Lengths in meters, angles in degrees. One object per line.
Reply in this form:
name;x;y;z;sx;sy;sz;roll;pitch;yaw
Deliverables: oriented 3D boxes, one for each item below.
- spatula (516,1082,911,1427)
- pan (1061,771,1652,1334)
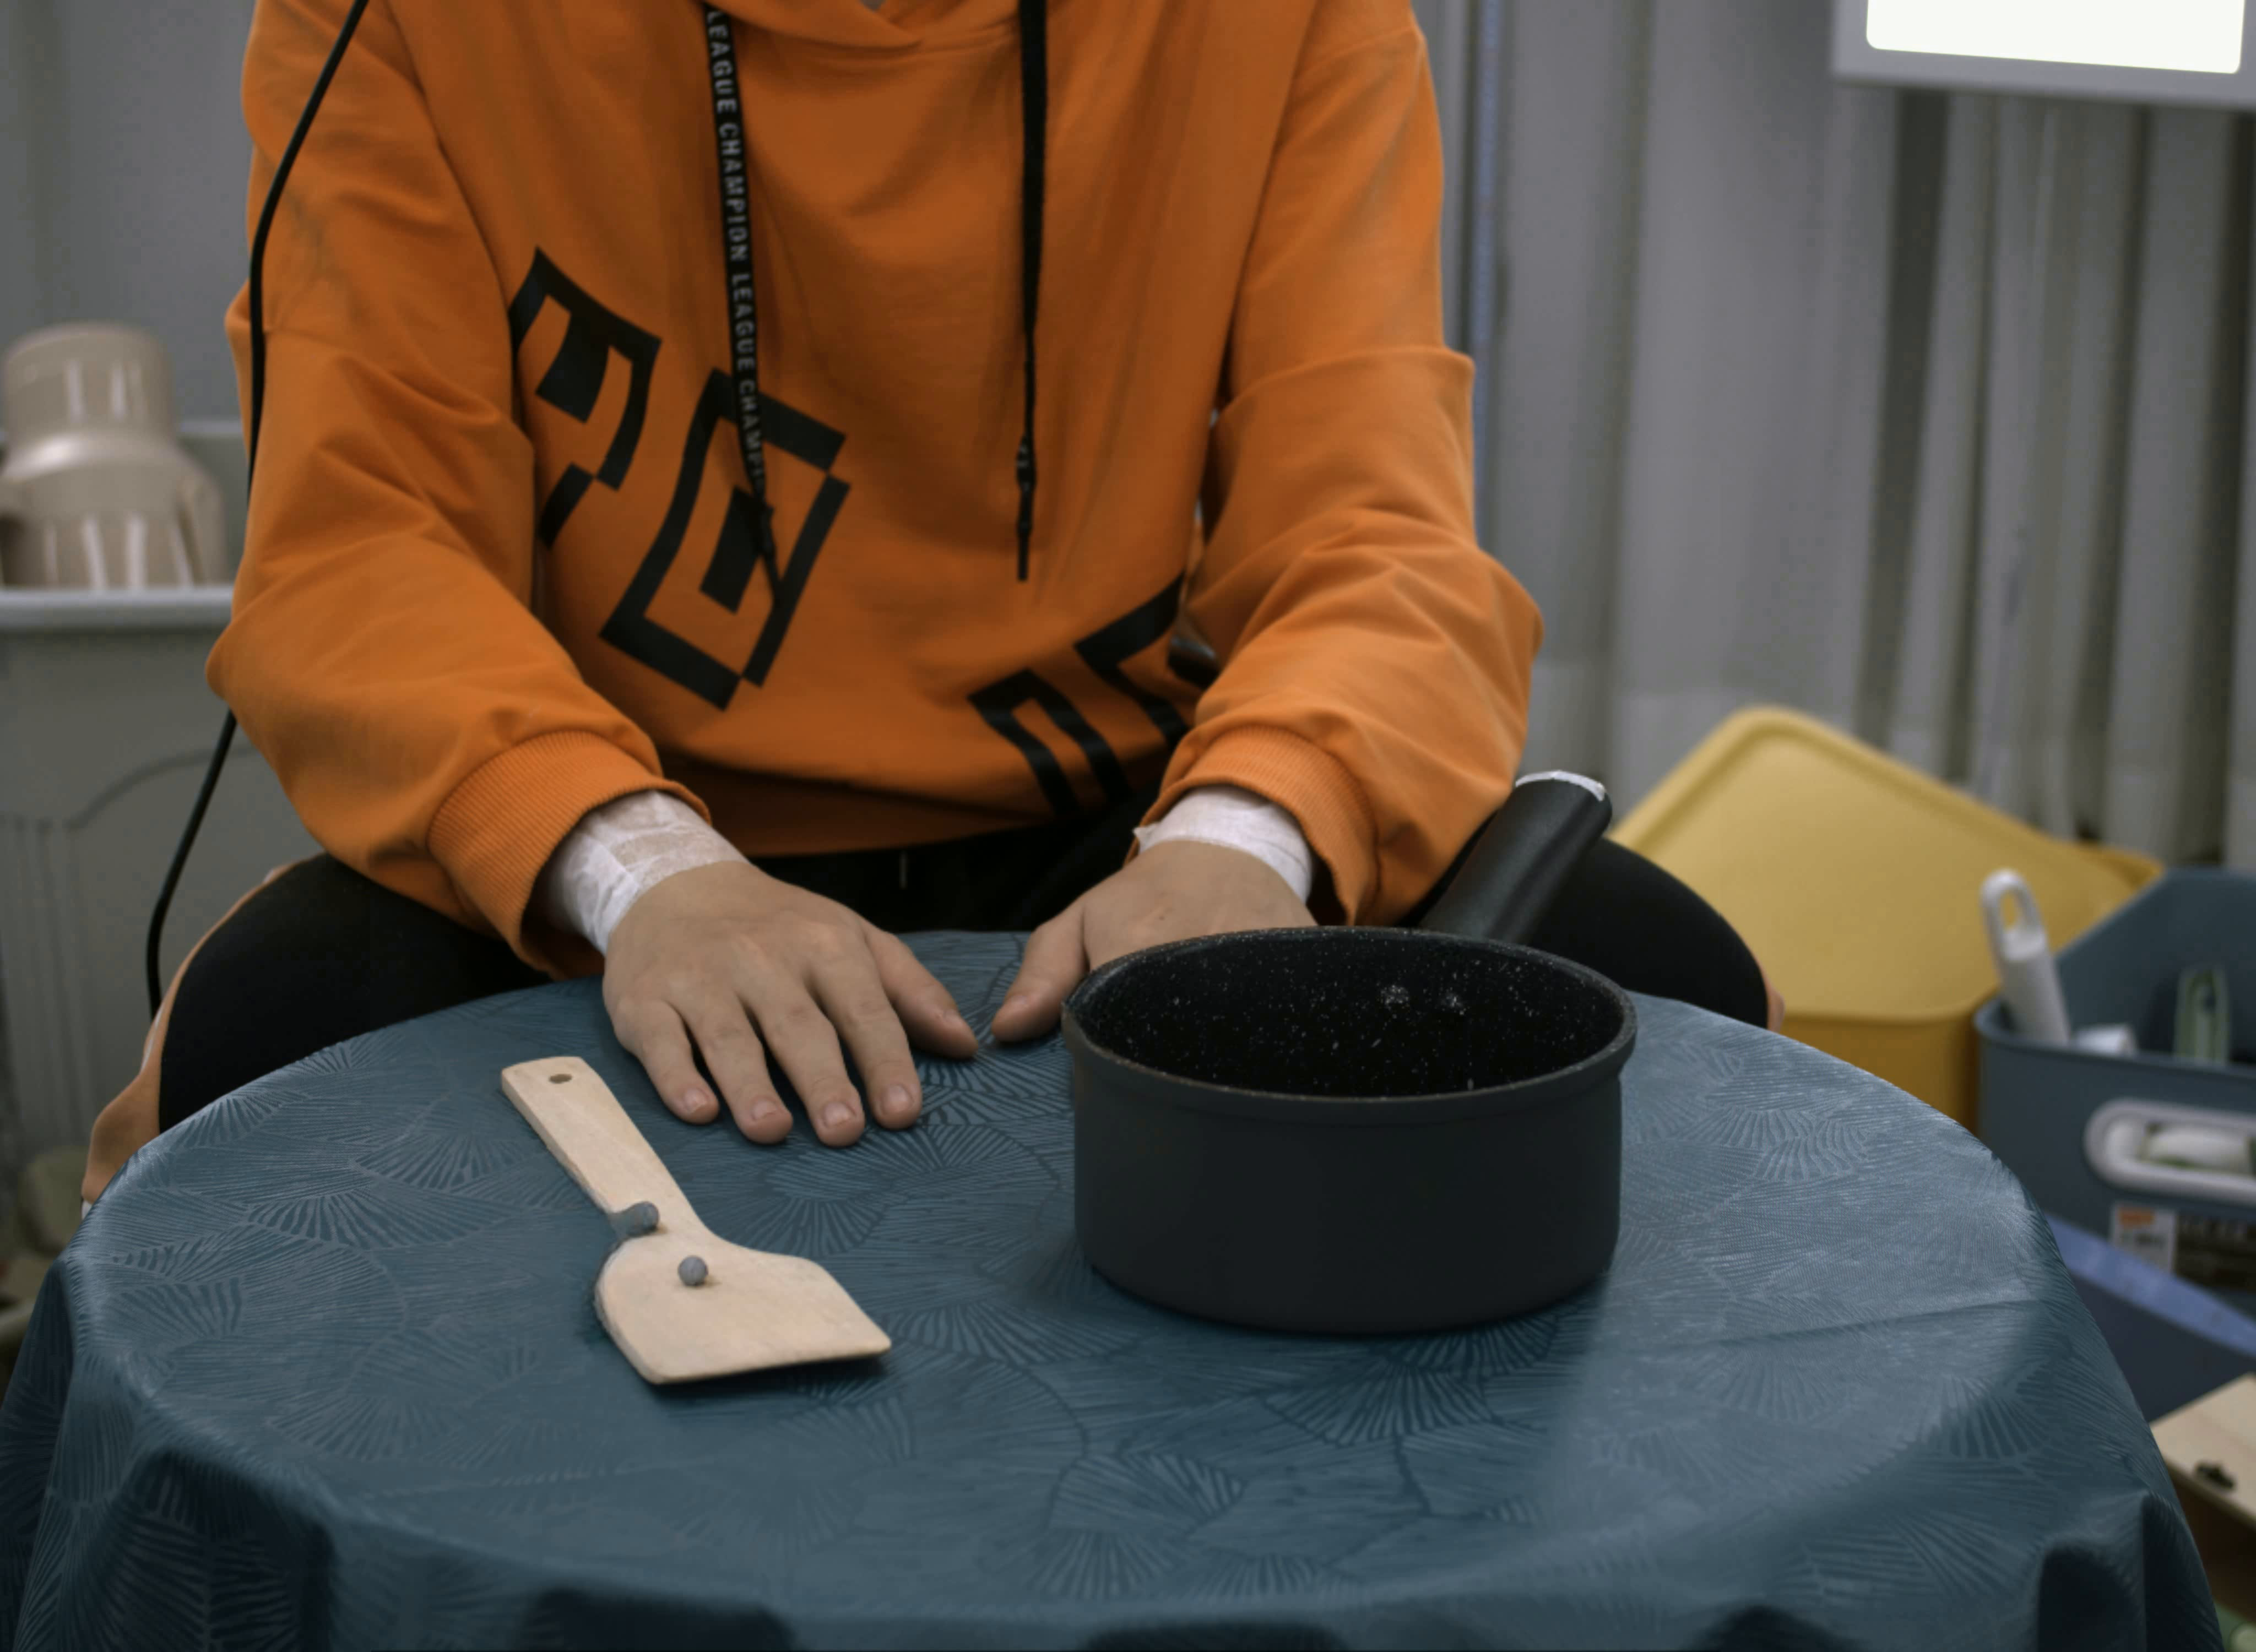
spatula;-0.141;0.125;1.587;0.072;0.011;0.290;-8;18;-18
pan;0.095;0.066;1.635;0.170;0.087;0.329;8;19;21
